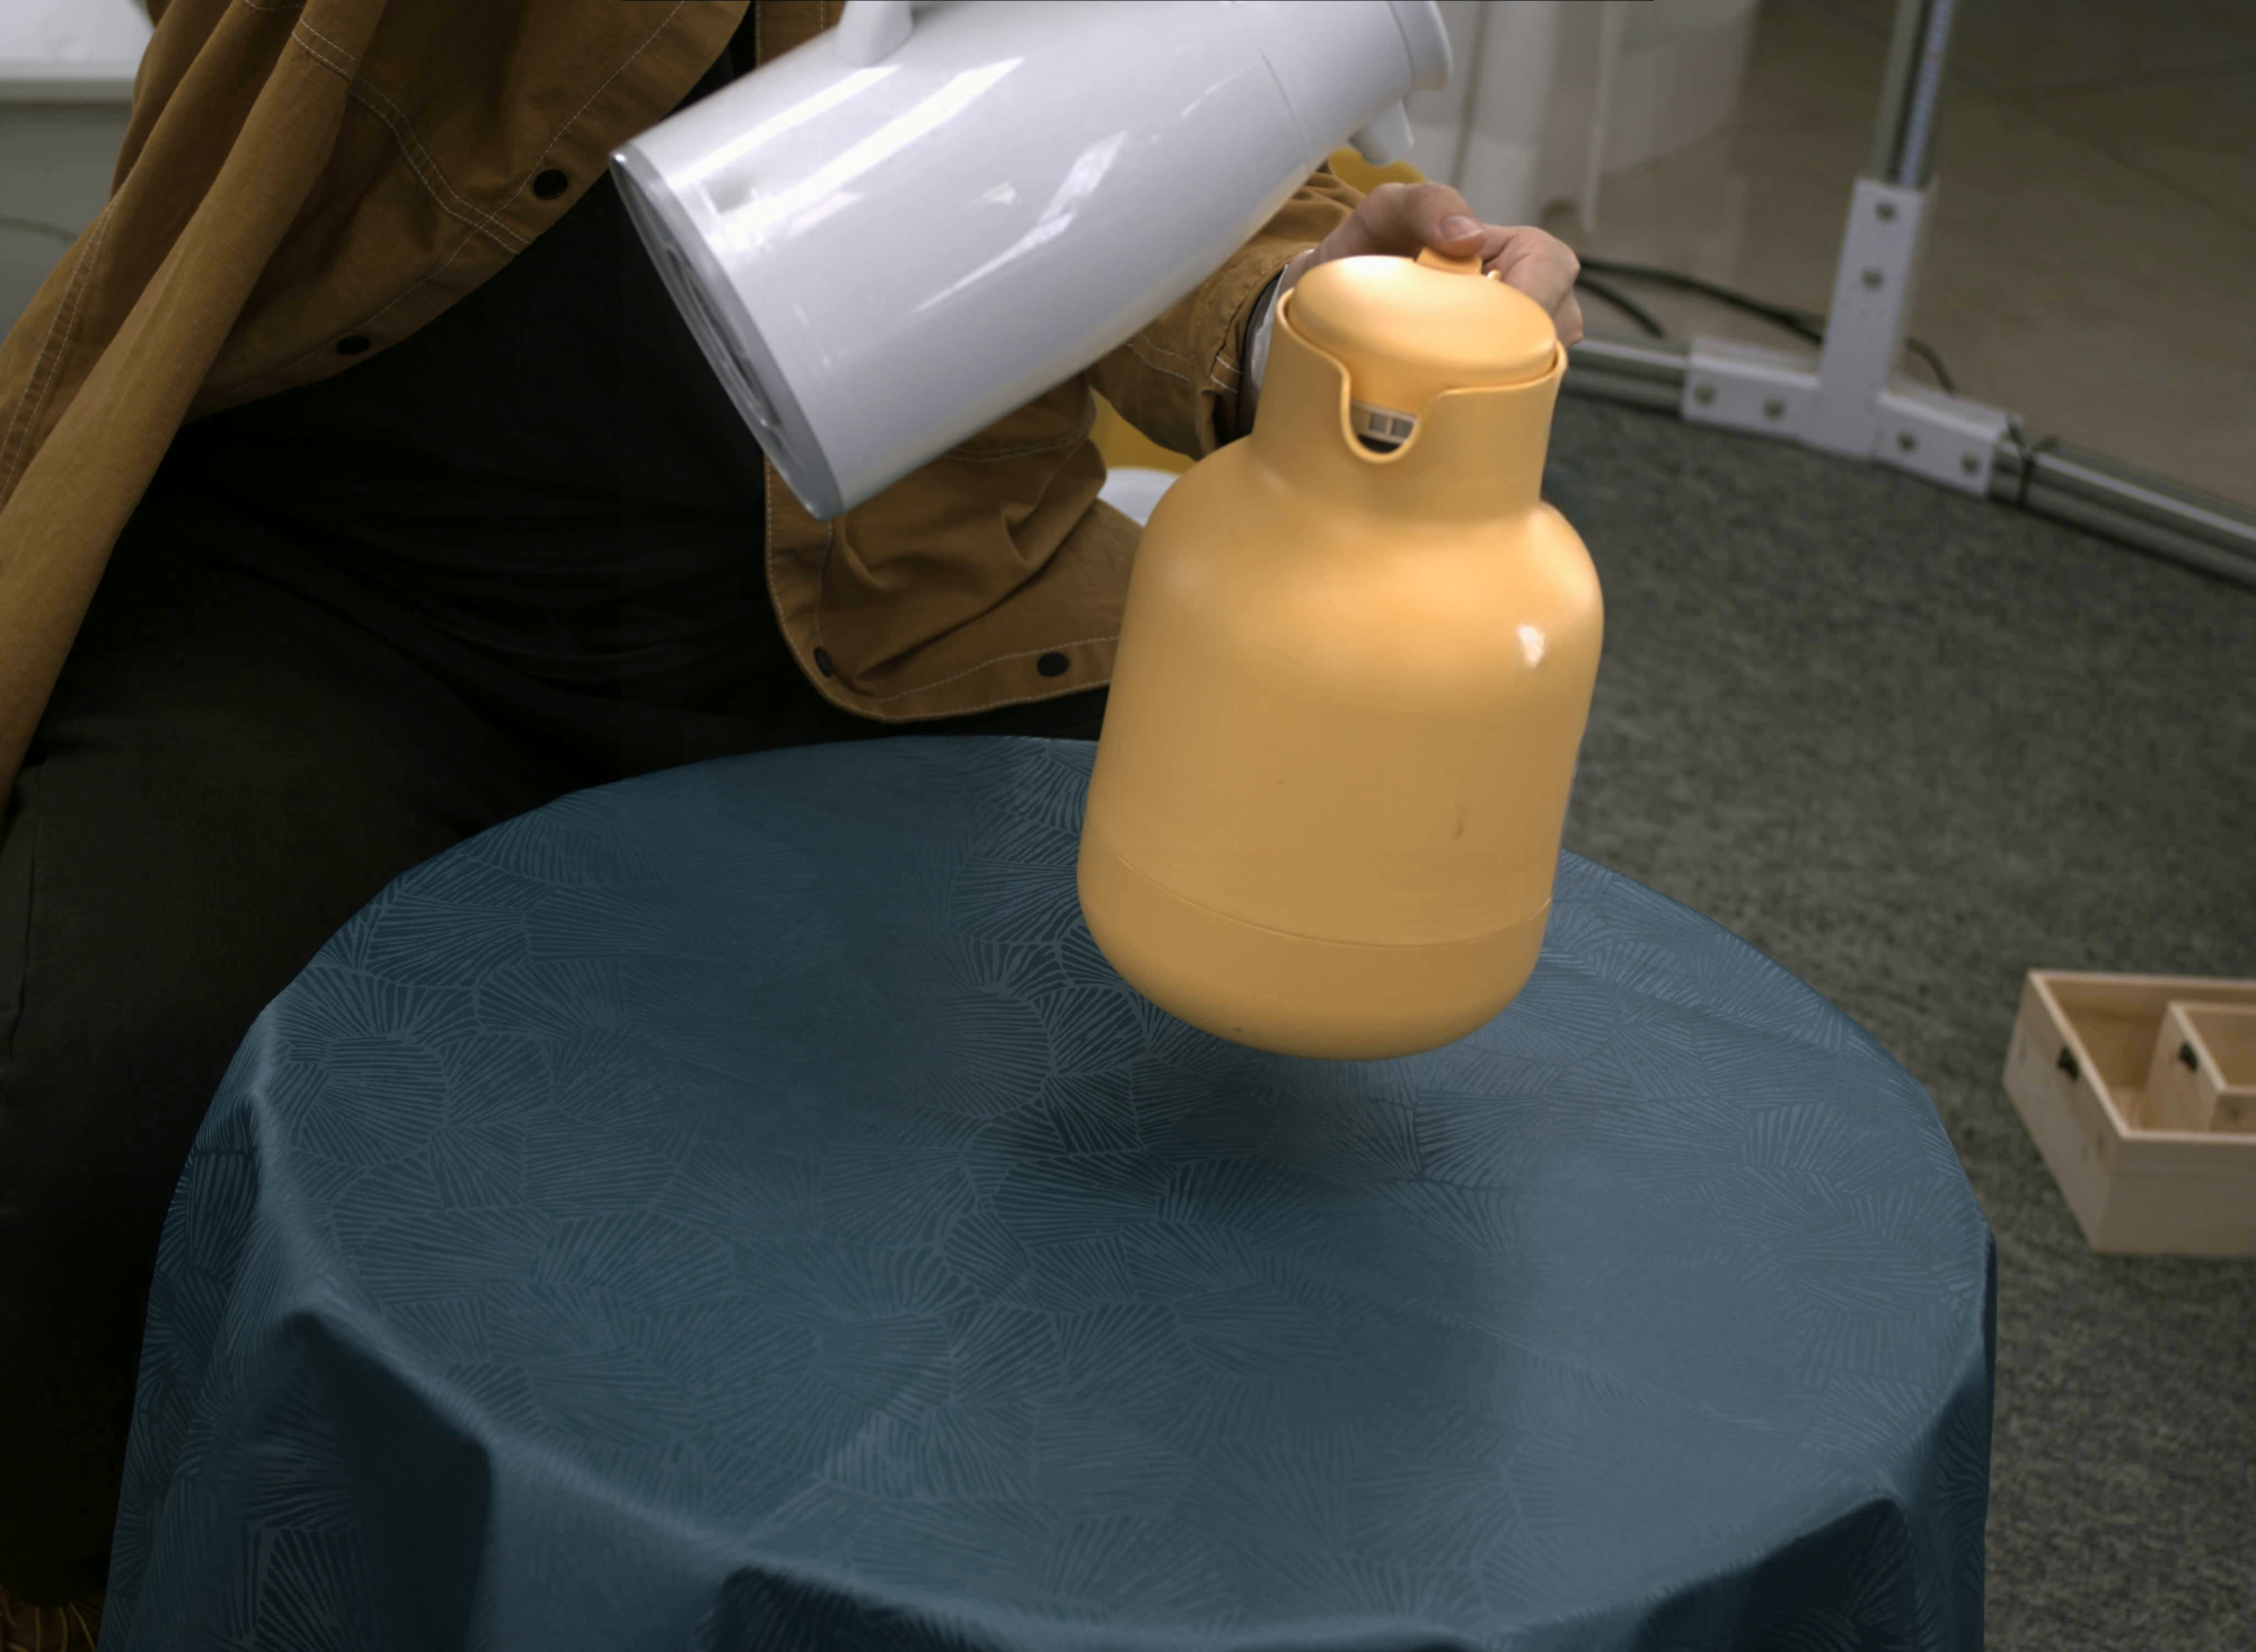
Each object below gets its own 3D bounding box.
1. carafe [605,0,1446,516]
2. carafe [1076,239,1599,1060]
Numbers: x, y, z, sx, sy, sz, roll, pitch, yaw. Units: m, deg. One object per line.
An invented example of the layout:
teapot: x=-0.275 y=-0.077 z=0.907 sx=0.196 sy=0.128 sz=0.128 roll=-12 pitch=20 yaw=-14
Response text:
carafe: x=-0.030 y=-0.228 z=1.643 sx=0.248 sy=0.166 sz=0.134 roll=-31 pitch=37 yaw=-6
carafe: x=0.083 y=-0.069 z=1.808 sx=0.163 sy=0.259 sz=0.203 roll=15 pitch=27 yaw=9
